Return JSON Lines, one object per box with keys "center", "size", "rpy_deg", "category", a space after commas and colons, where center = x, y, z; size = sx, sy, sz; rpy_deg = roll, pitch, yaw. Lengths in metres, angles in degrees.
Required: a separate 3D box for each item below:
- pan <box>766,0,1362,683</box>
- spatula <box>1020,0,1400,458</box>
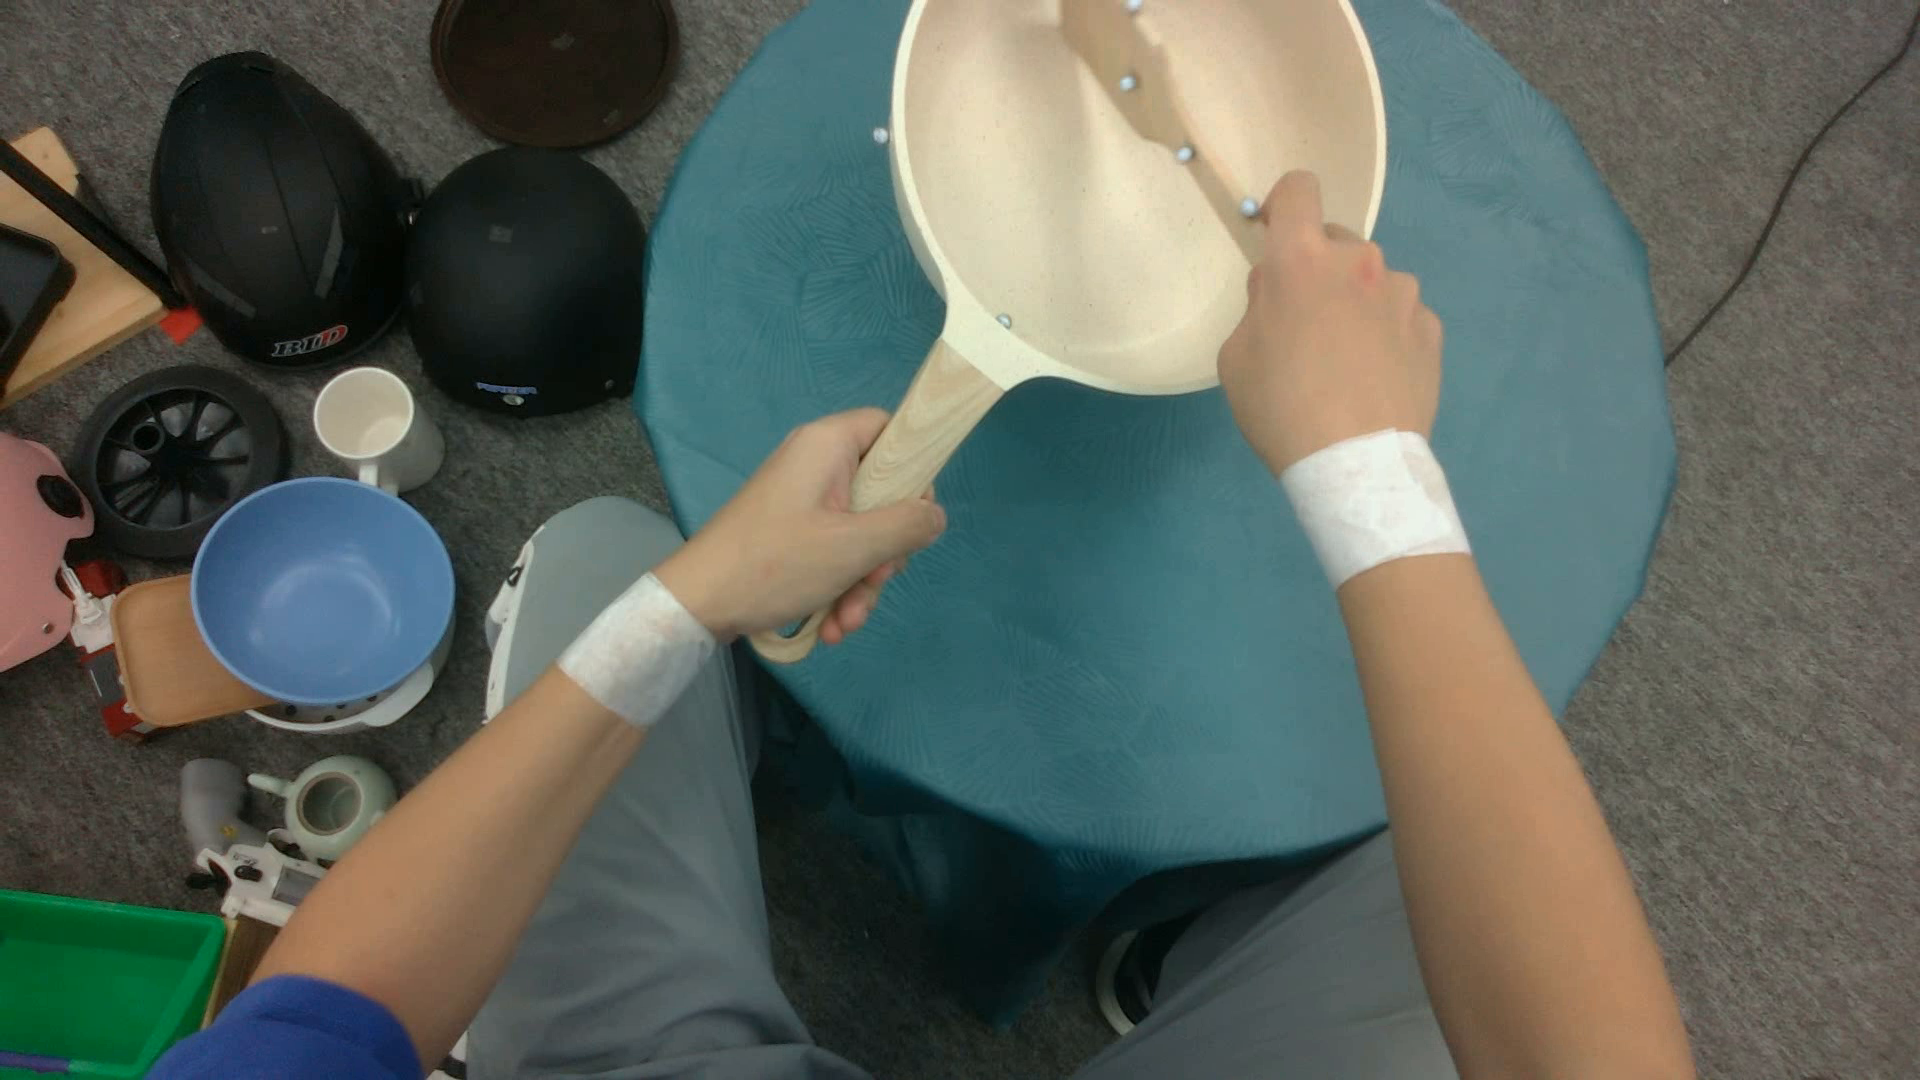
{"center": [0.027, -0.120, 0.693], "size": [0.263, 0.102, 0.435], "rpy_deg": [36, 82, -13], "category": "pan"}
{"center": [0.113, -0.154, 0.652], "size": [0.010, 0.072, 0.293], "rpy_deg": [-34, 72, -3], "category": "spatula"}
